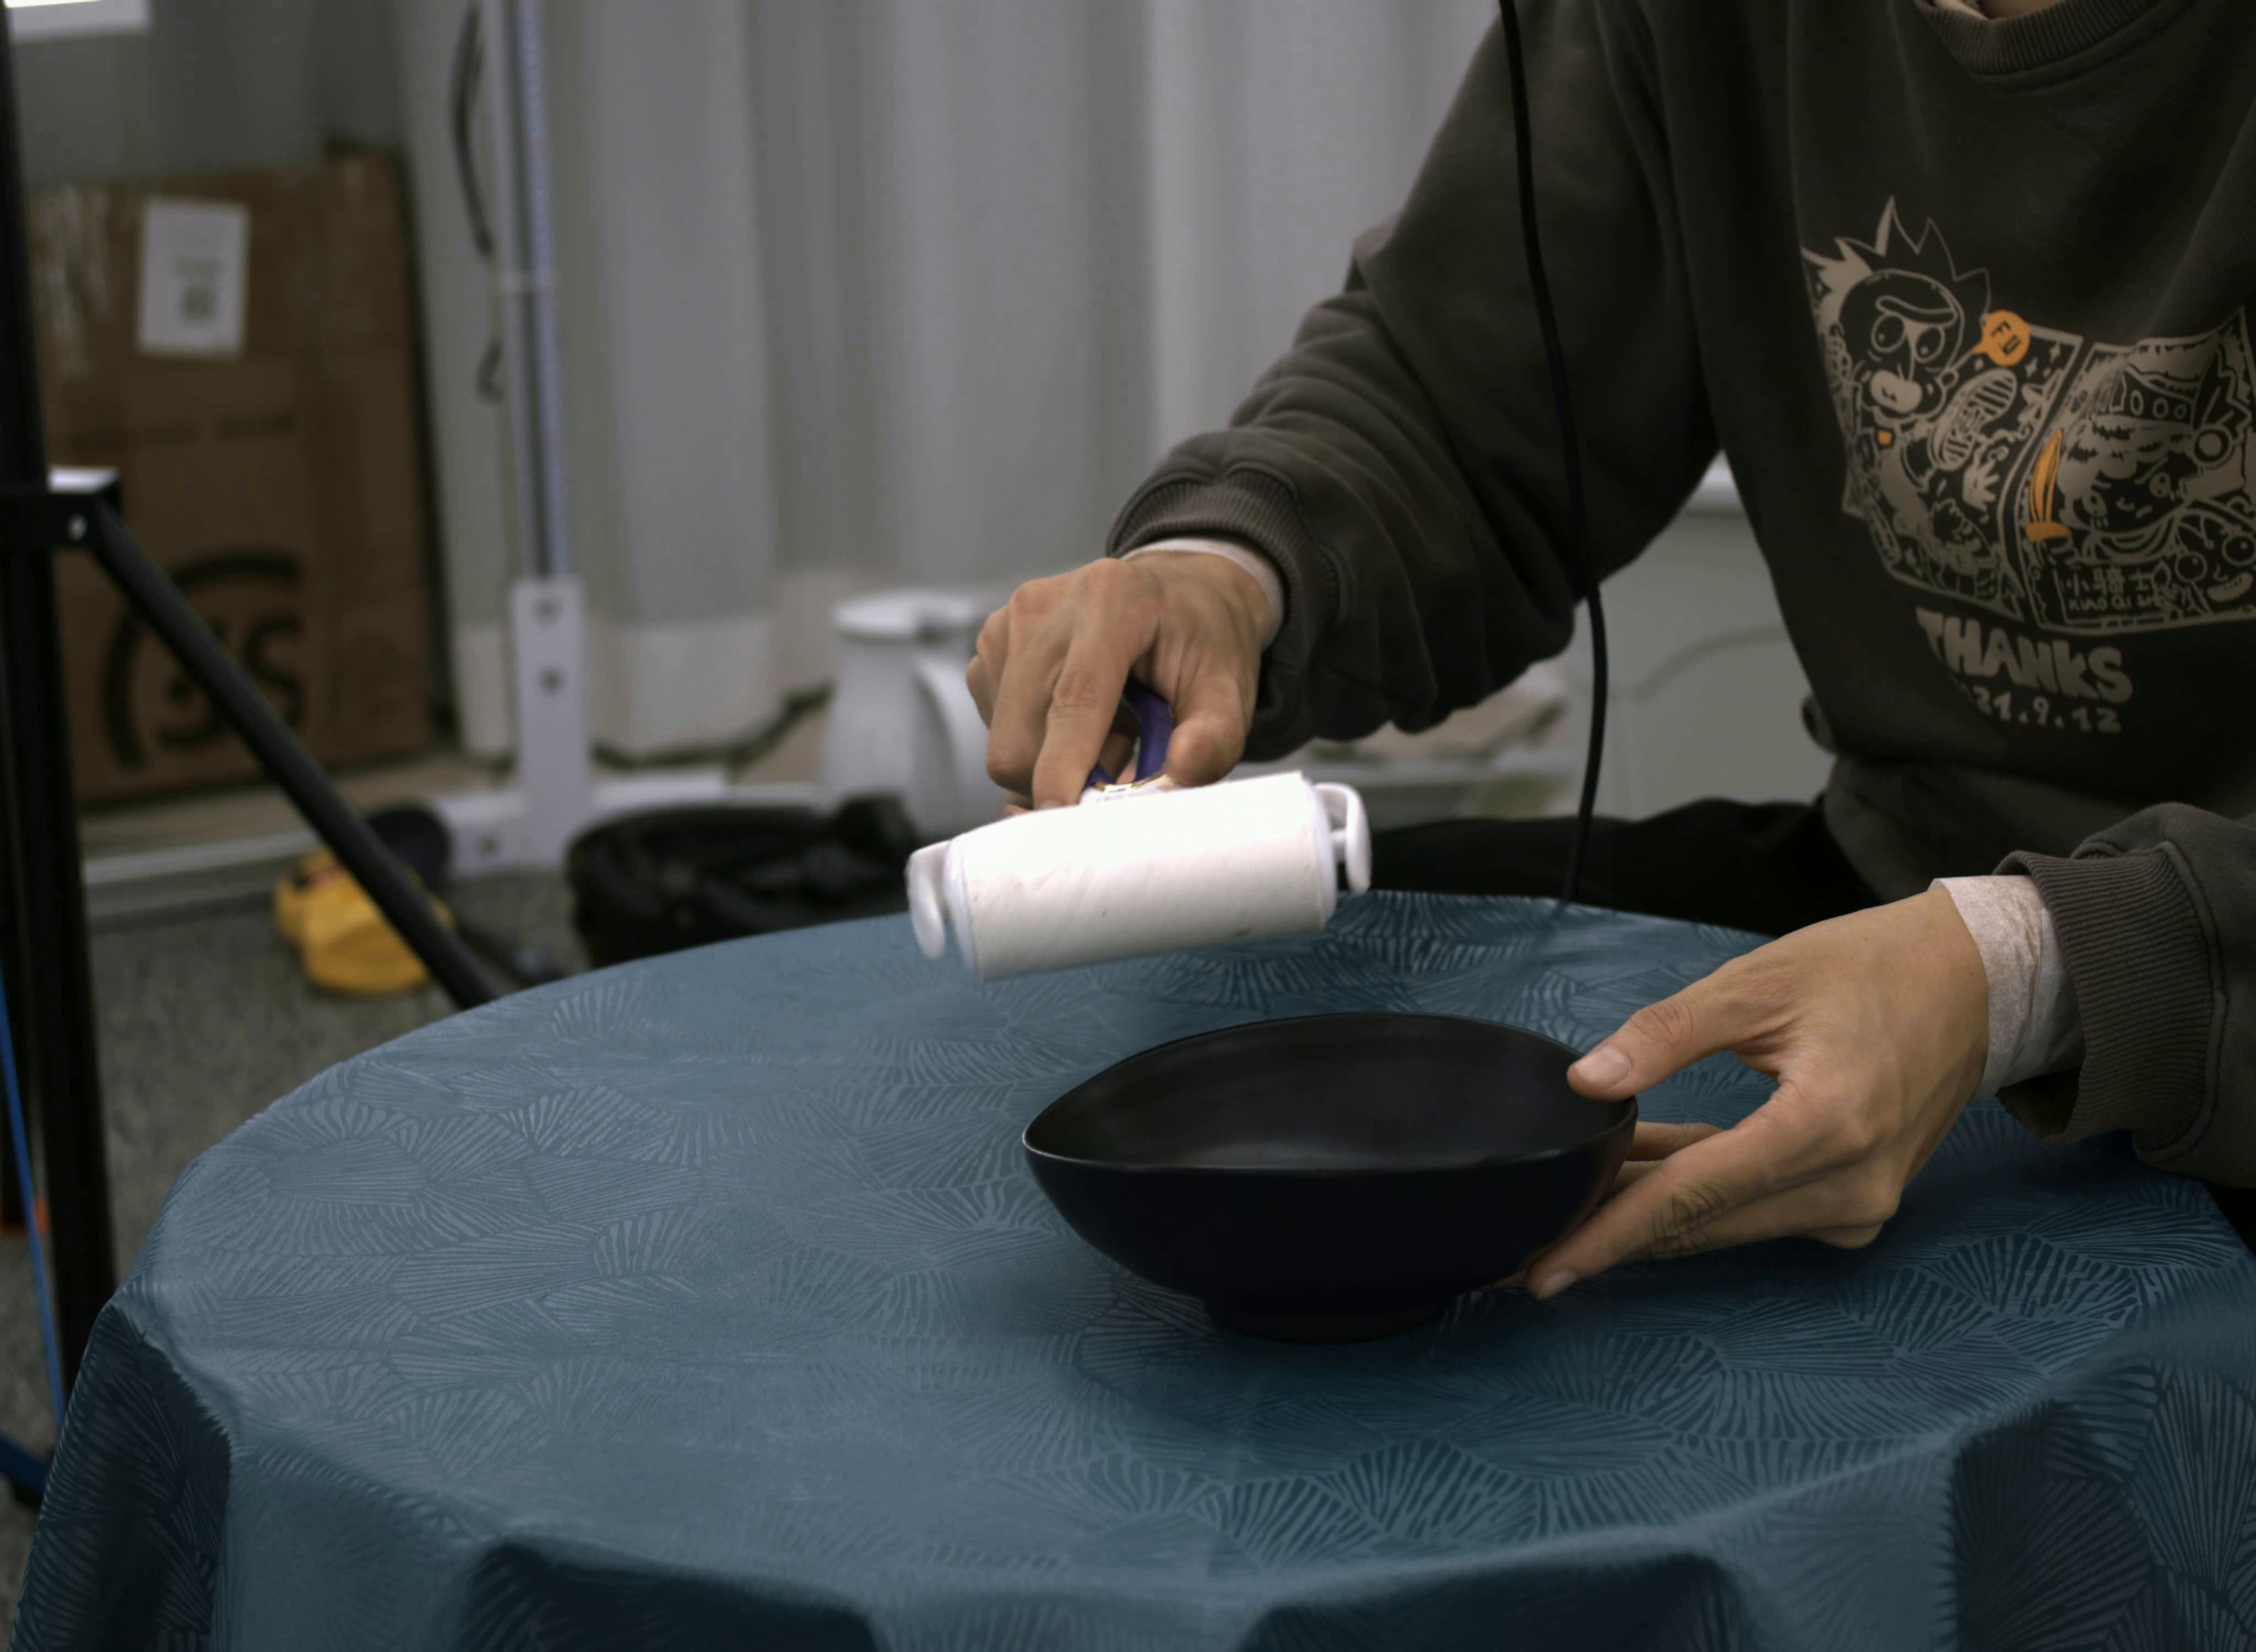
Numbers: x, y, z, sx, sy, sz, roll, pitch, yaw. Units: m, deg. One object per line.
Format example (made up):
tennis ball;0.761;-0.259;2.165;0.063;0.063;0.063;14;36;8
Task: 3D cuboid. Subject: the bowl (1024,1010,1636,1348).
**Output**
bowl;0.056;0.102;1.457;0.171;0.067;0.137;-2;15;9

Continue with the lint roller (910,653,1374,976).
lint roller;0.000;-0.020;1.570;0.132;0.050;0.182;-8;31;2
